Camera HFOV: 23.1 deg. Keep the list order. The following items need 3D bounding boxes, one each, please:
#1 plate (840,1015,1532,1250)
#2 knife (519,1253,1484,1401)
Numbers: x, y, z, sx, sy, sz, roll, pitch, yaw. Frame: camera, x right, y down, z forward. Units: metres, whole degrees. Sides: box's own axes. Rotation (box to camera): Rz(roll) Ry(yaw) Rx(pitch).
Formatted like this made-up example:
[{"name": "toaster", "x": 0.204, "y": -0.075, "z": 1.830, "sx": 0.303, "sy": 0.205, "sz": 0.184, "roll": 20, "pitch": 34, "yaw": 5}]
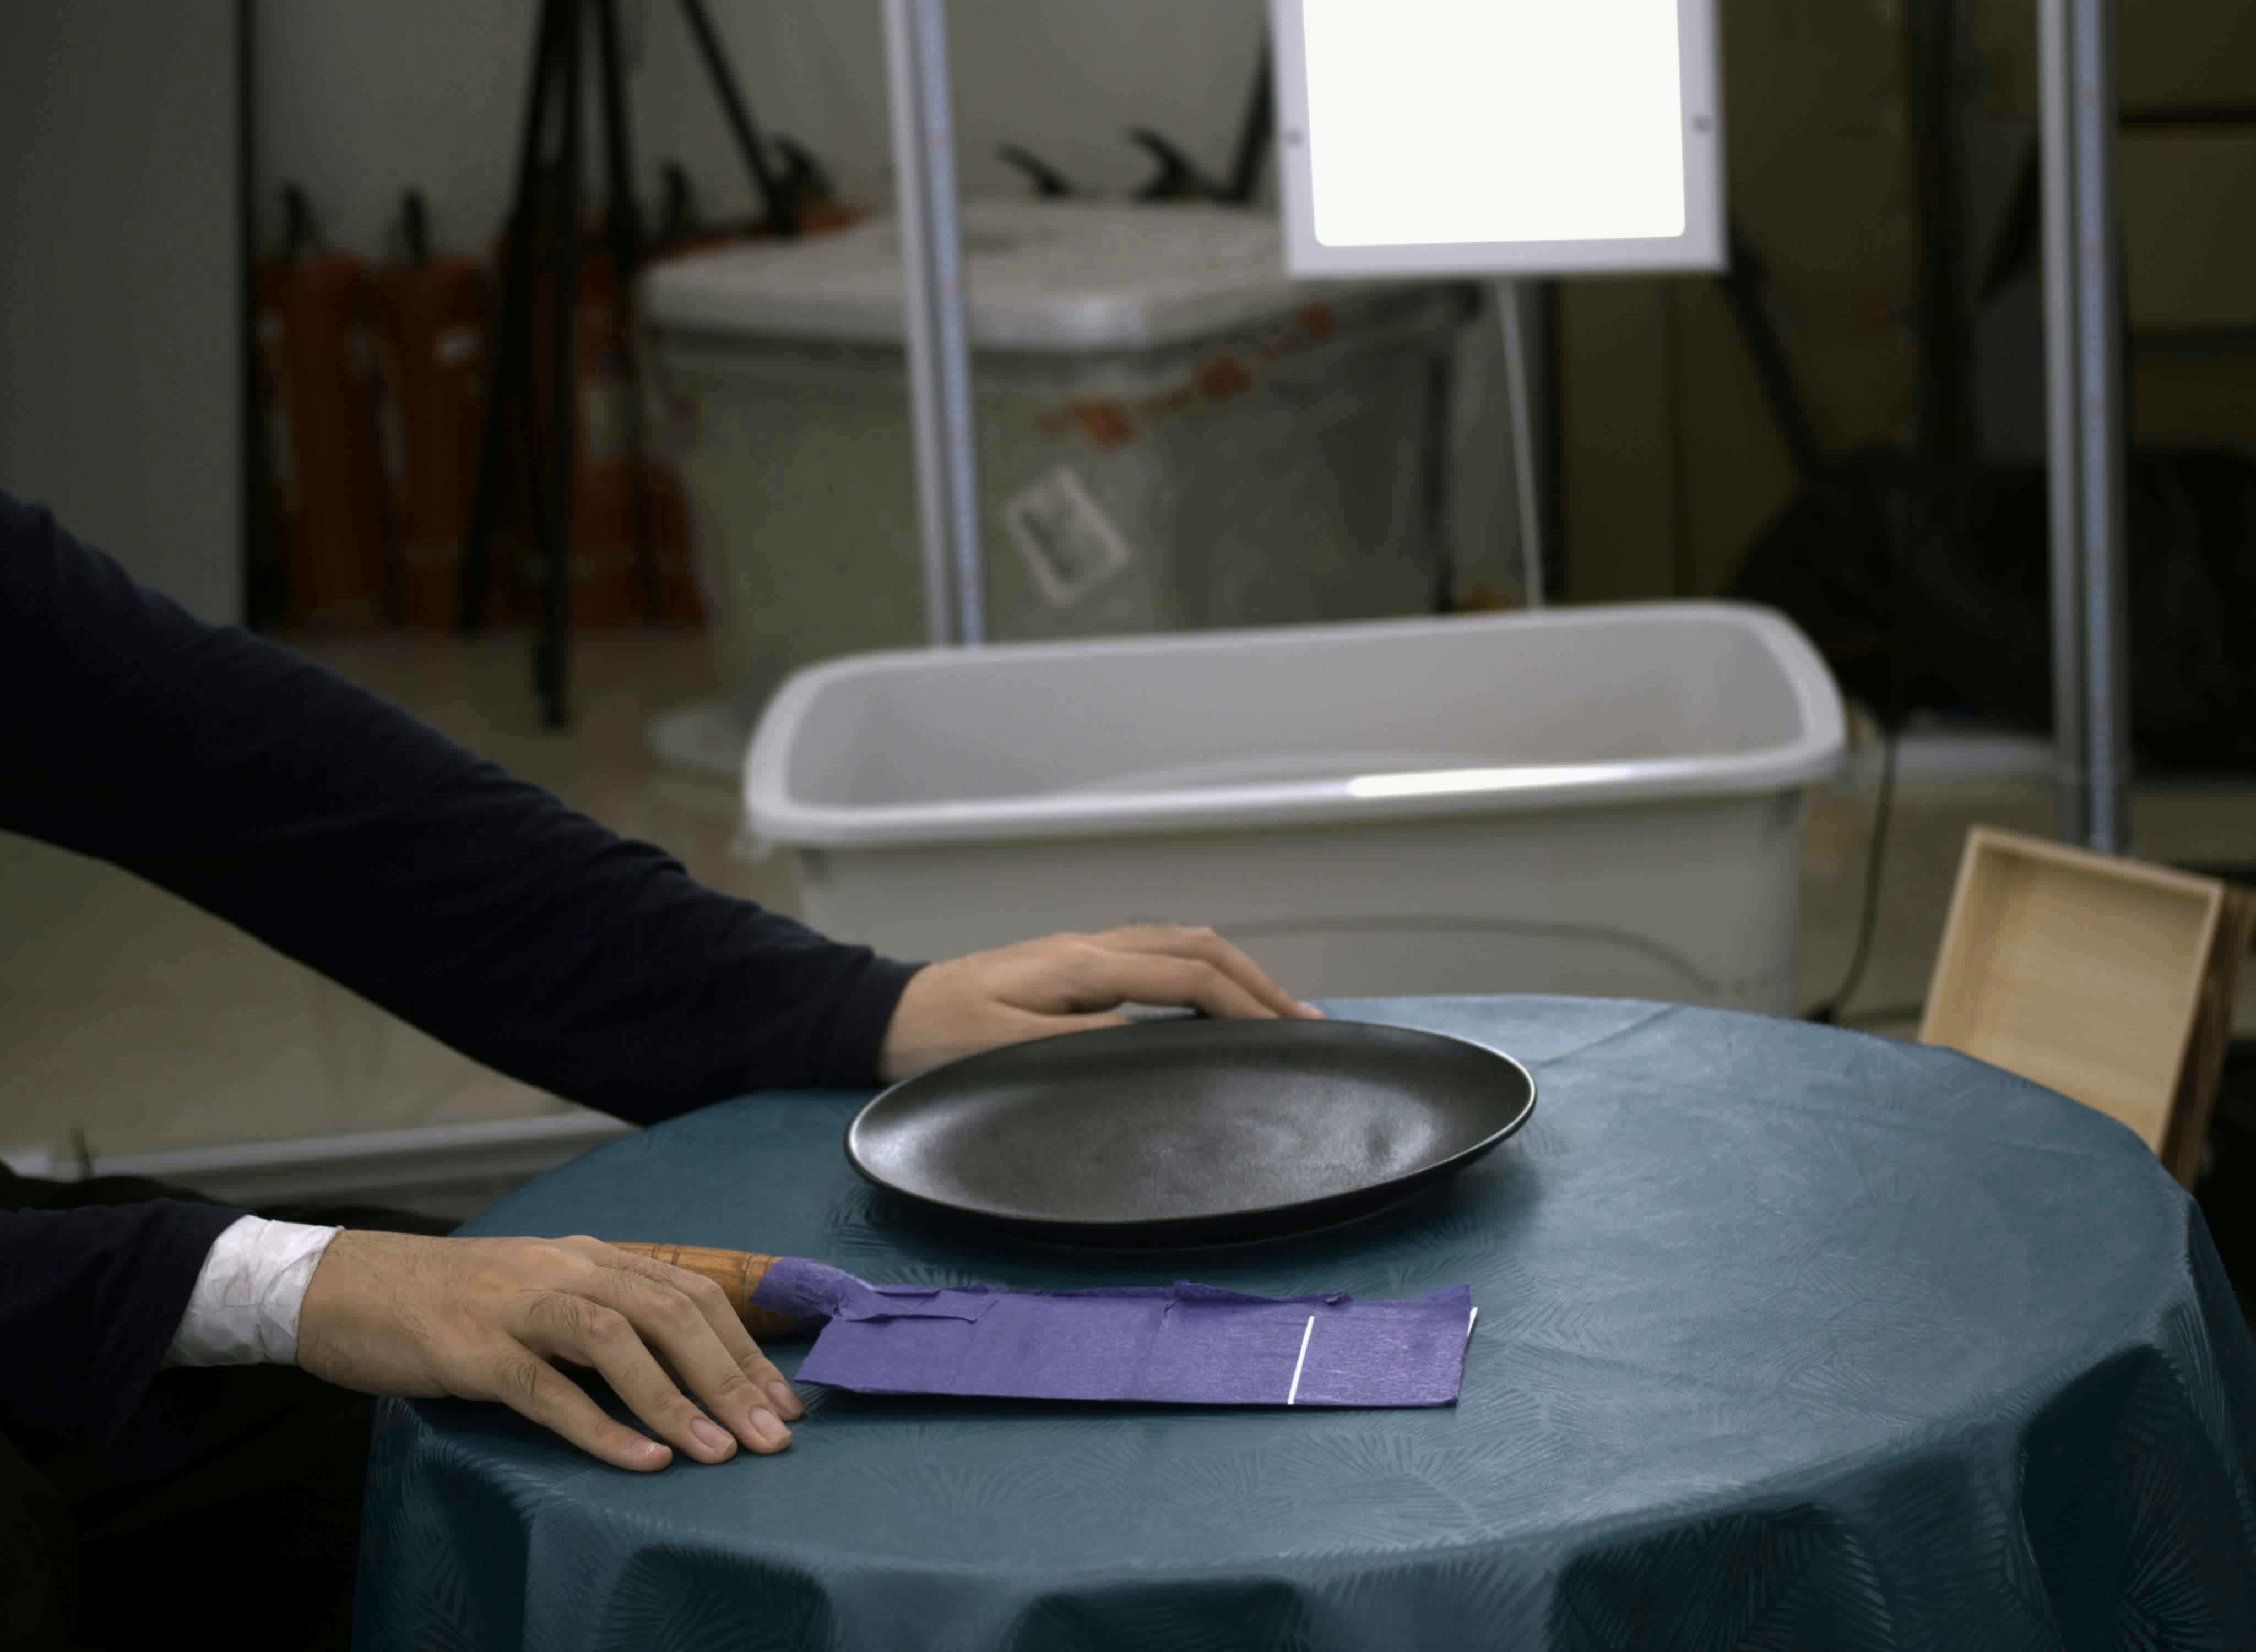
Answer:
[{"name": "plate", "x": 0.021, "y": 0.109, "z": 1.919, "sx": 0.244, "sy": 0.023, "sz": 0.244, "roll": -5, "pitch": 14, "yaw": 0}, {"name": "knife", "x": -0.046, "y": 0.158, "z": 1.736, "sx": 0.317, "sy": 0.032, "sz": 0.103, "roll": -2, "pitch": 14, "yaw": 12}]
